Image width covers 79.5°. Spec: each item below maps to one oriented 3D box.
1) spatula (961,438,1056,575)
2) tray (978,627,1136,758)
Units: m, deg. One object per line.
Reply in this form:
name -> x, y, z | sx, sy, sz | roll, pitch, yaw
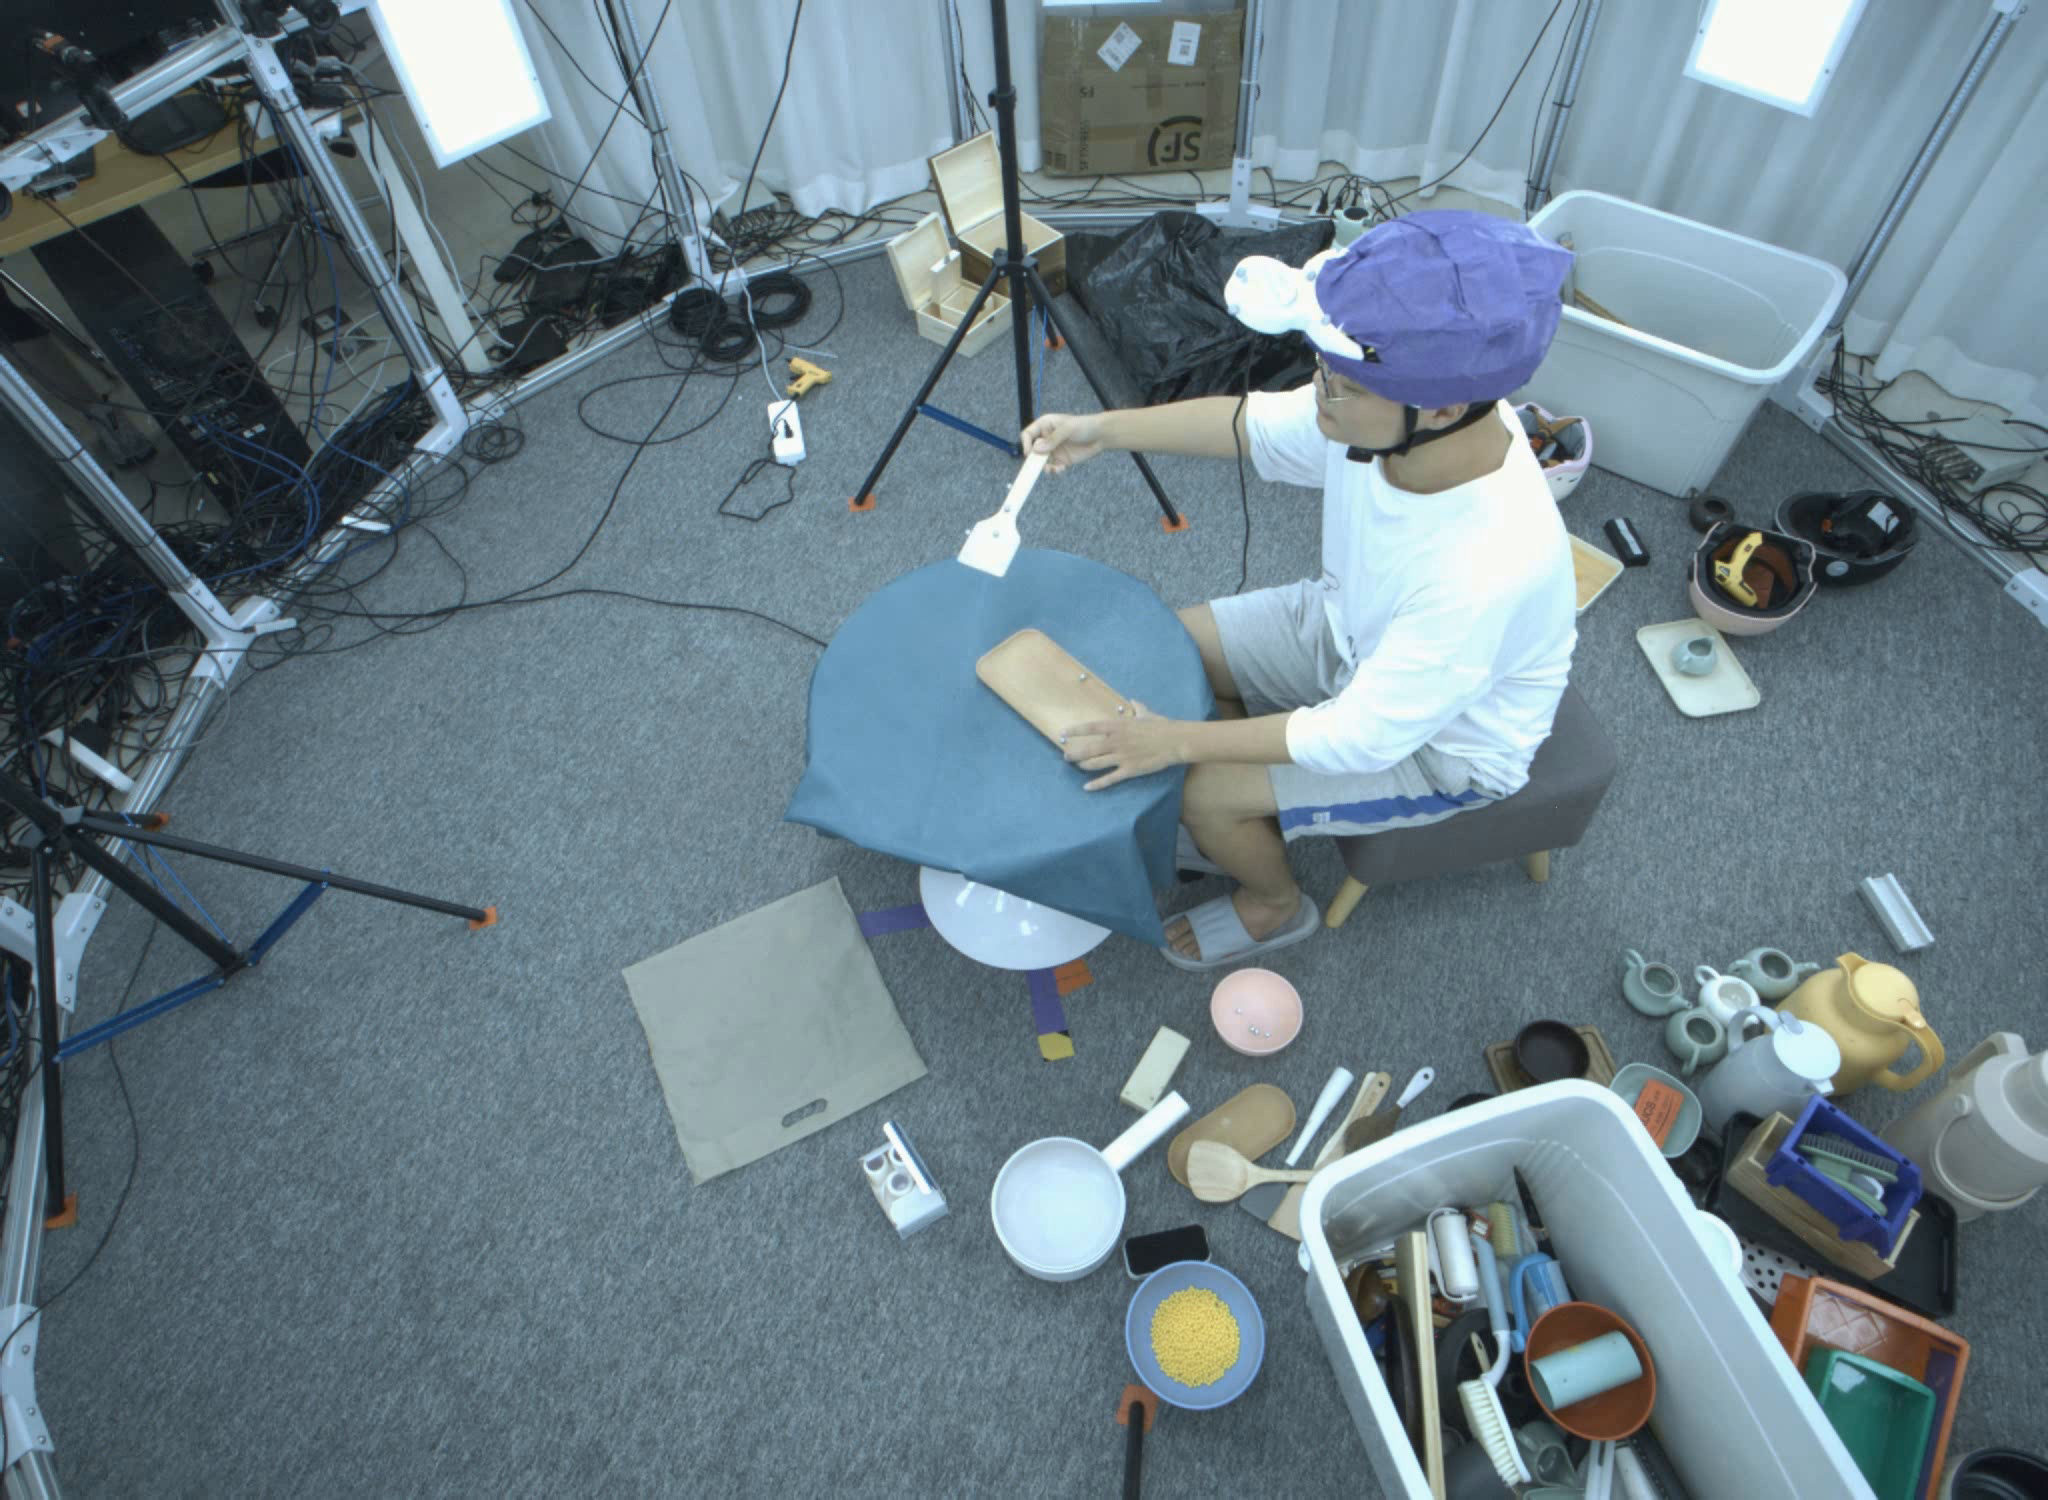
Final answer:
spatula -> -0.013, -0.361, 1.767 | 0.072, 0.011, 0.292 | 21, 56, 3
tray -> 0.046, -0.088, 1.837 | 0.132, 0.023, 0.246 | -34, 59, -23
